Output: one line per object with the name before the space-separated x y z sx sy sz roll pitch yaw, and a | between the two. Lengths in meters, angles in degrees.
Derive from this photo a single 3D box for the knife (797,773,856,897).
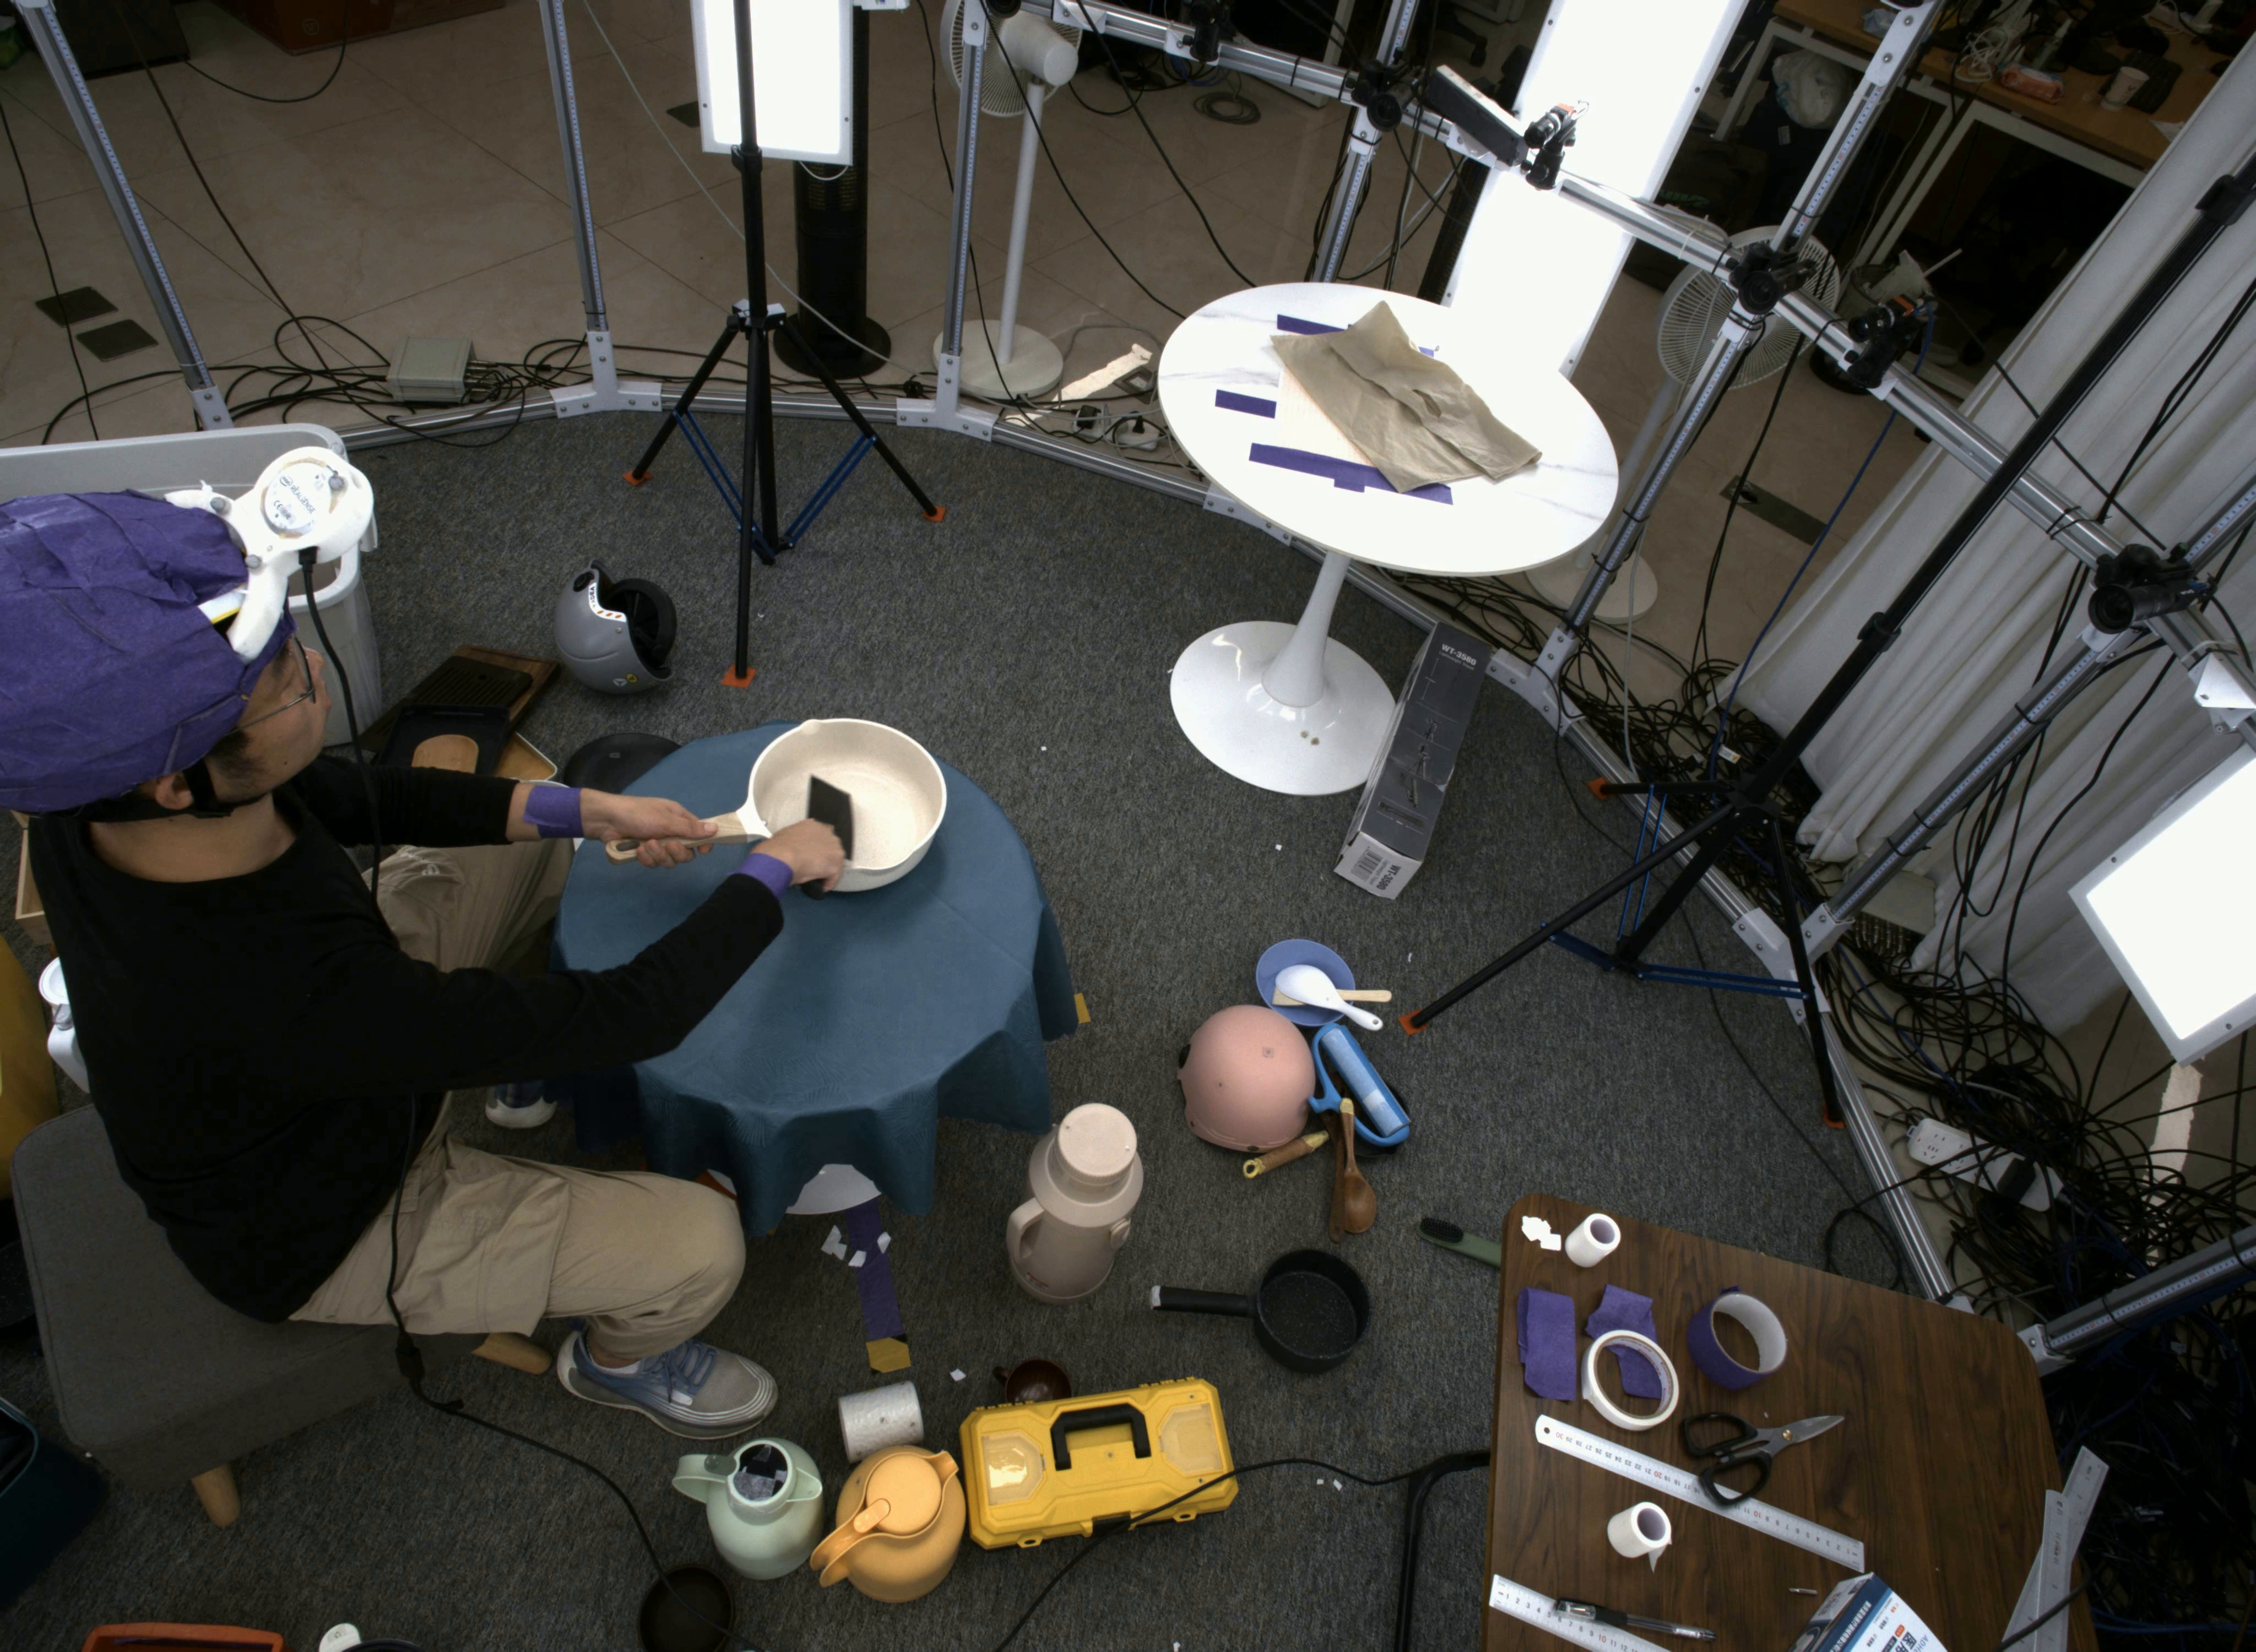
knife | -0.368 0.008 1.589 0.082 0.021 0.295 33 17 -19

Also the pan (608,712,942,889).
pan | -0.445 -0.003 1.646 0.437 0.104 0.257 -21 63 -29
